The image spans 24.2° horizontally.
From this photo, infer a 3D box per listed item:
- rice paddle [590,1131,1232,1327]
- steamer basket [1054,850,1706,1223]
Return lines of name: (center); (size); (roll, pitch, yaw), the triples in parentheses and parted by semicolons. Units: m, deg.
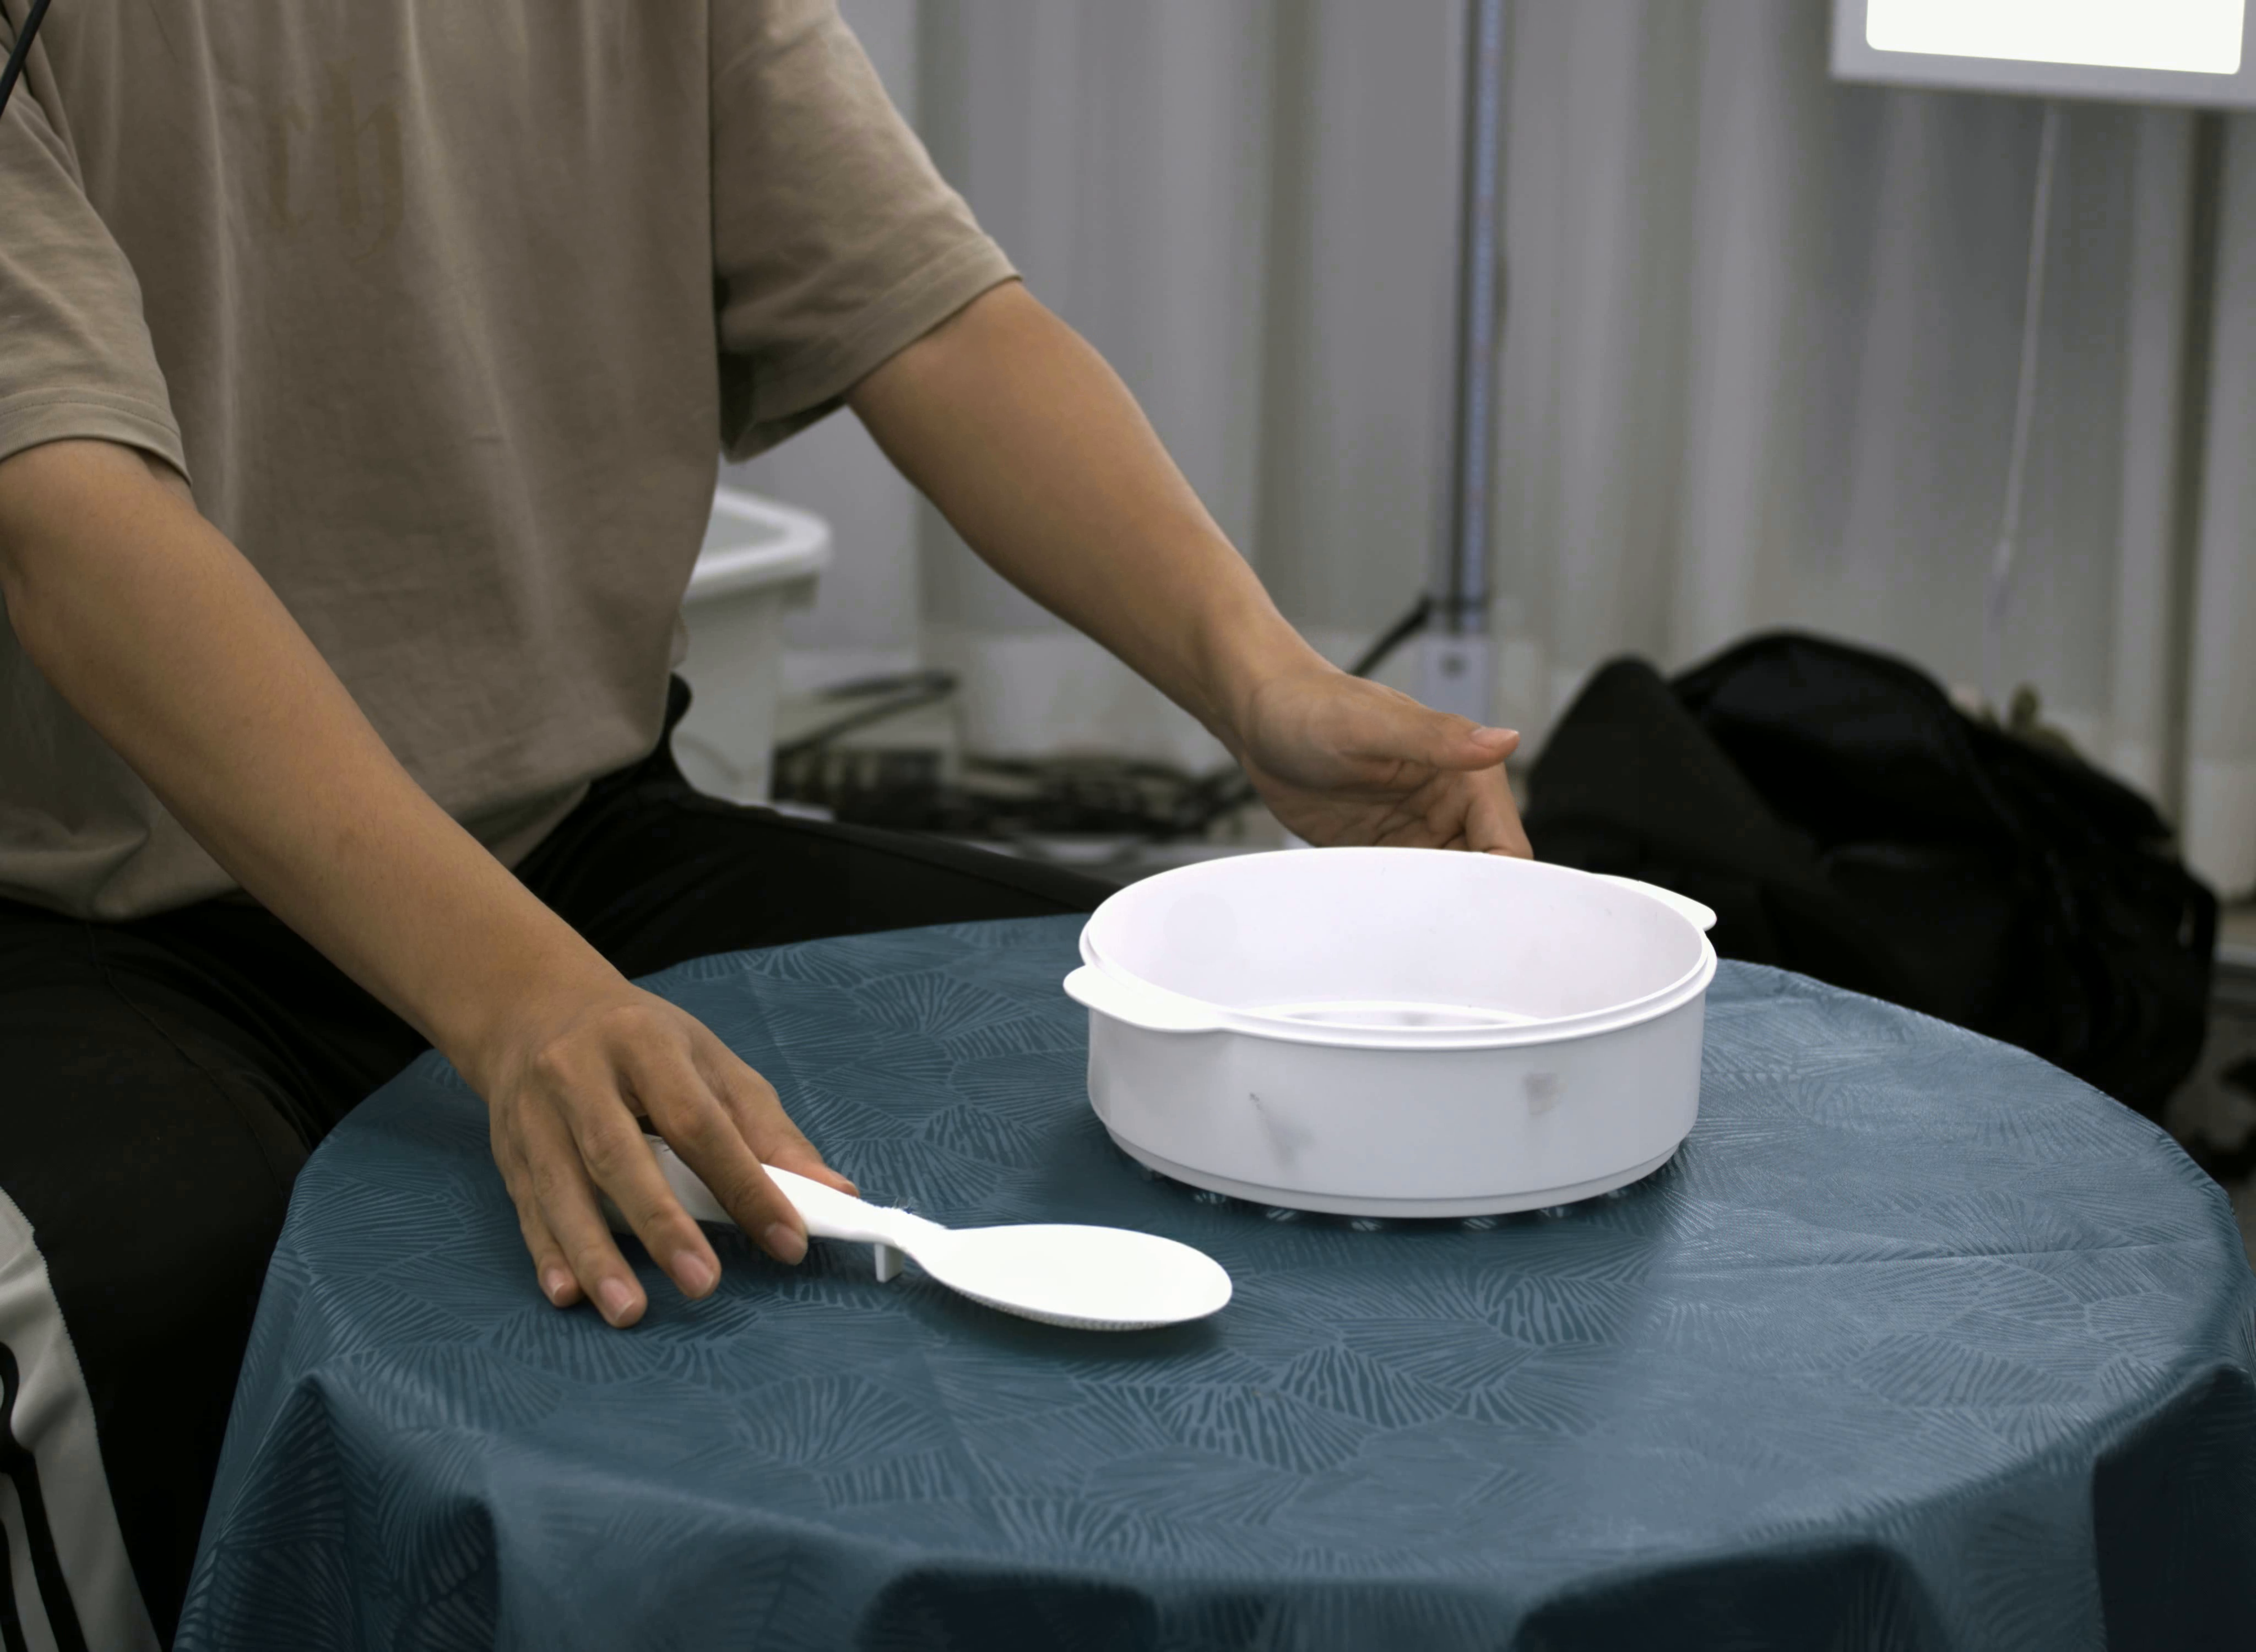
rice paddle: (-0.064, 0.119, 1.541); (0.203, 0.029, 0.069); (8, 19, 25)
steamer basket: (0.081, 0.067, 1.670); (0.232, 0.070, 0.199); (-8, 19, -34)
